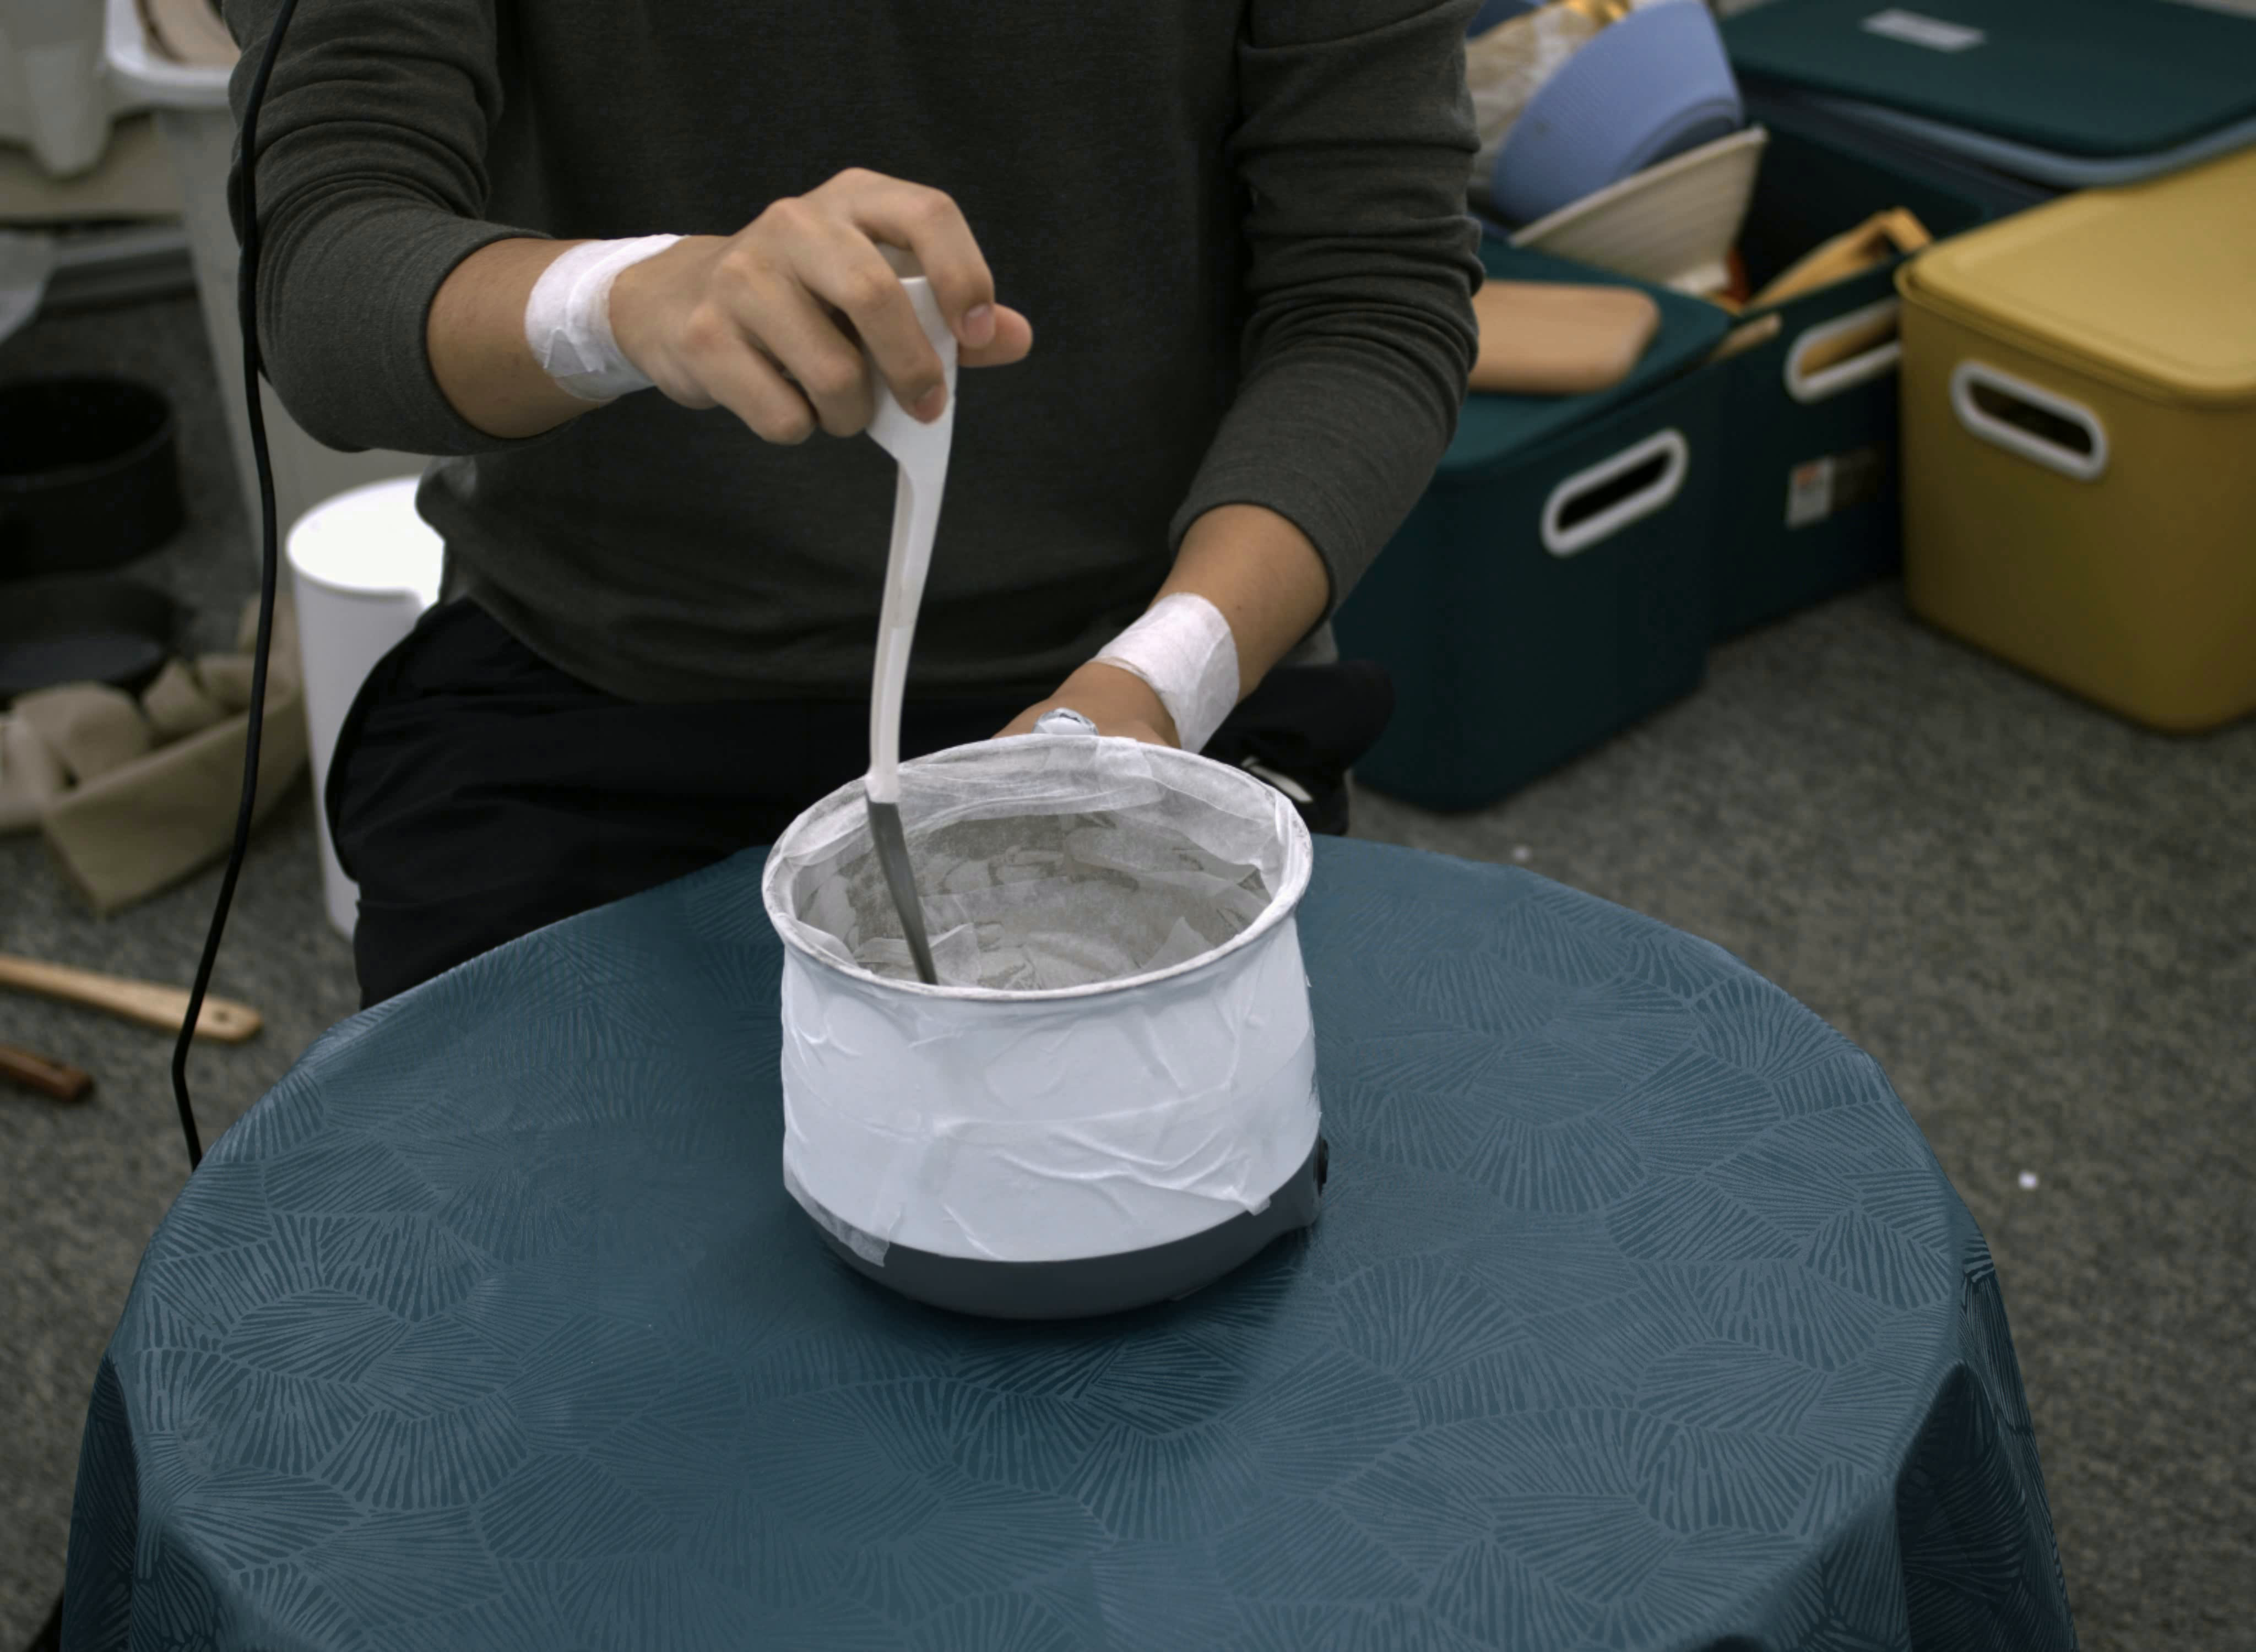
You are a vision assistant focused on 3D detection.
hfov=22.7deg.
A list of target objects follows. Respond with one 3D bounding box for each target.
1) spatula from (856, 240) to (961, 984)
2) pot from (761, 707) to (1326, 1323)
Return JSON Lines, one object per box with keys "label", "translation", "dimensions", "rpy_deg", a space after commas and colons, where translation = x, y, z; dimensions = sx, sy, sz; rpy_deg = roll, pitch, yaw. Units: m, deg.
{"label": "spatula", "translation": [-0.065, -0.043, 1.760], "dimensions": [0.032, 0.284, 0.059], "rpy_deg": [-6, 26, -11]}
{"label": "pot", "translation": [-0.025, 0.055, 1.847], "dimensions": [0.178, 0.135, 0.237], "rpy_deg": [-1, 27, 3]}
